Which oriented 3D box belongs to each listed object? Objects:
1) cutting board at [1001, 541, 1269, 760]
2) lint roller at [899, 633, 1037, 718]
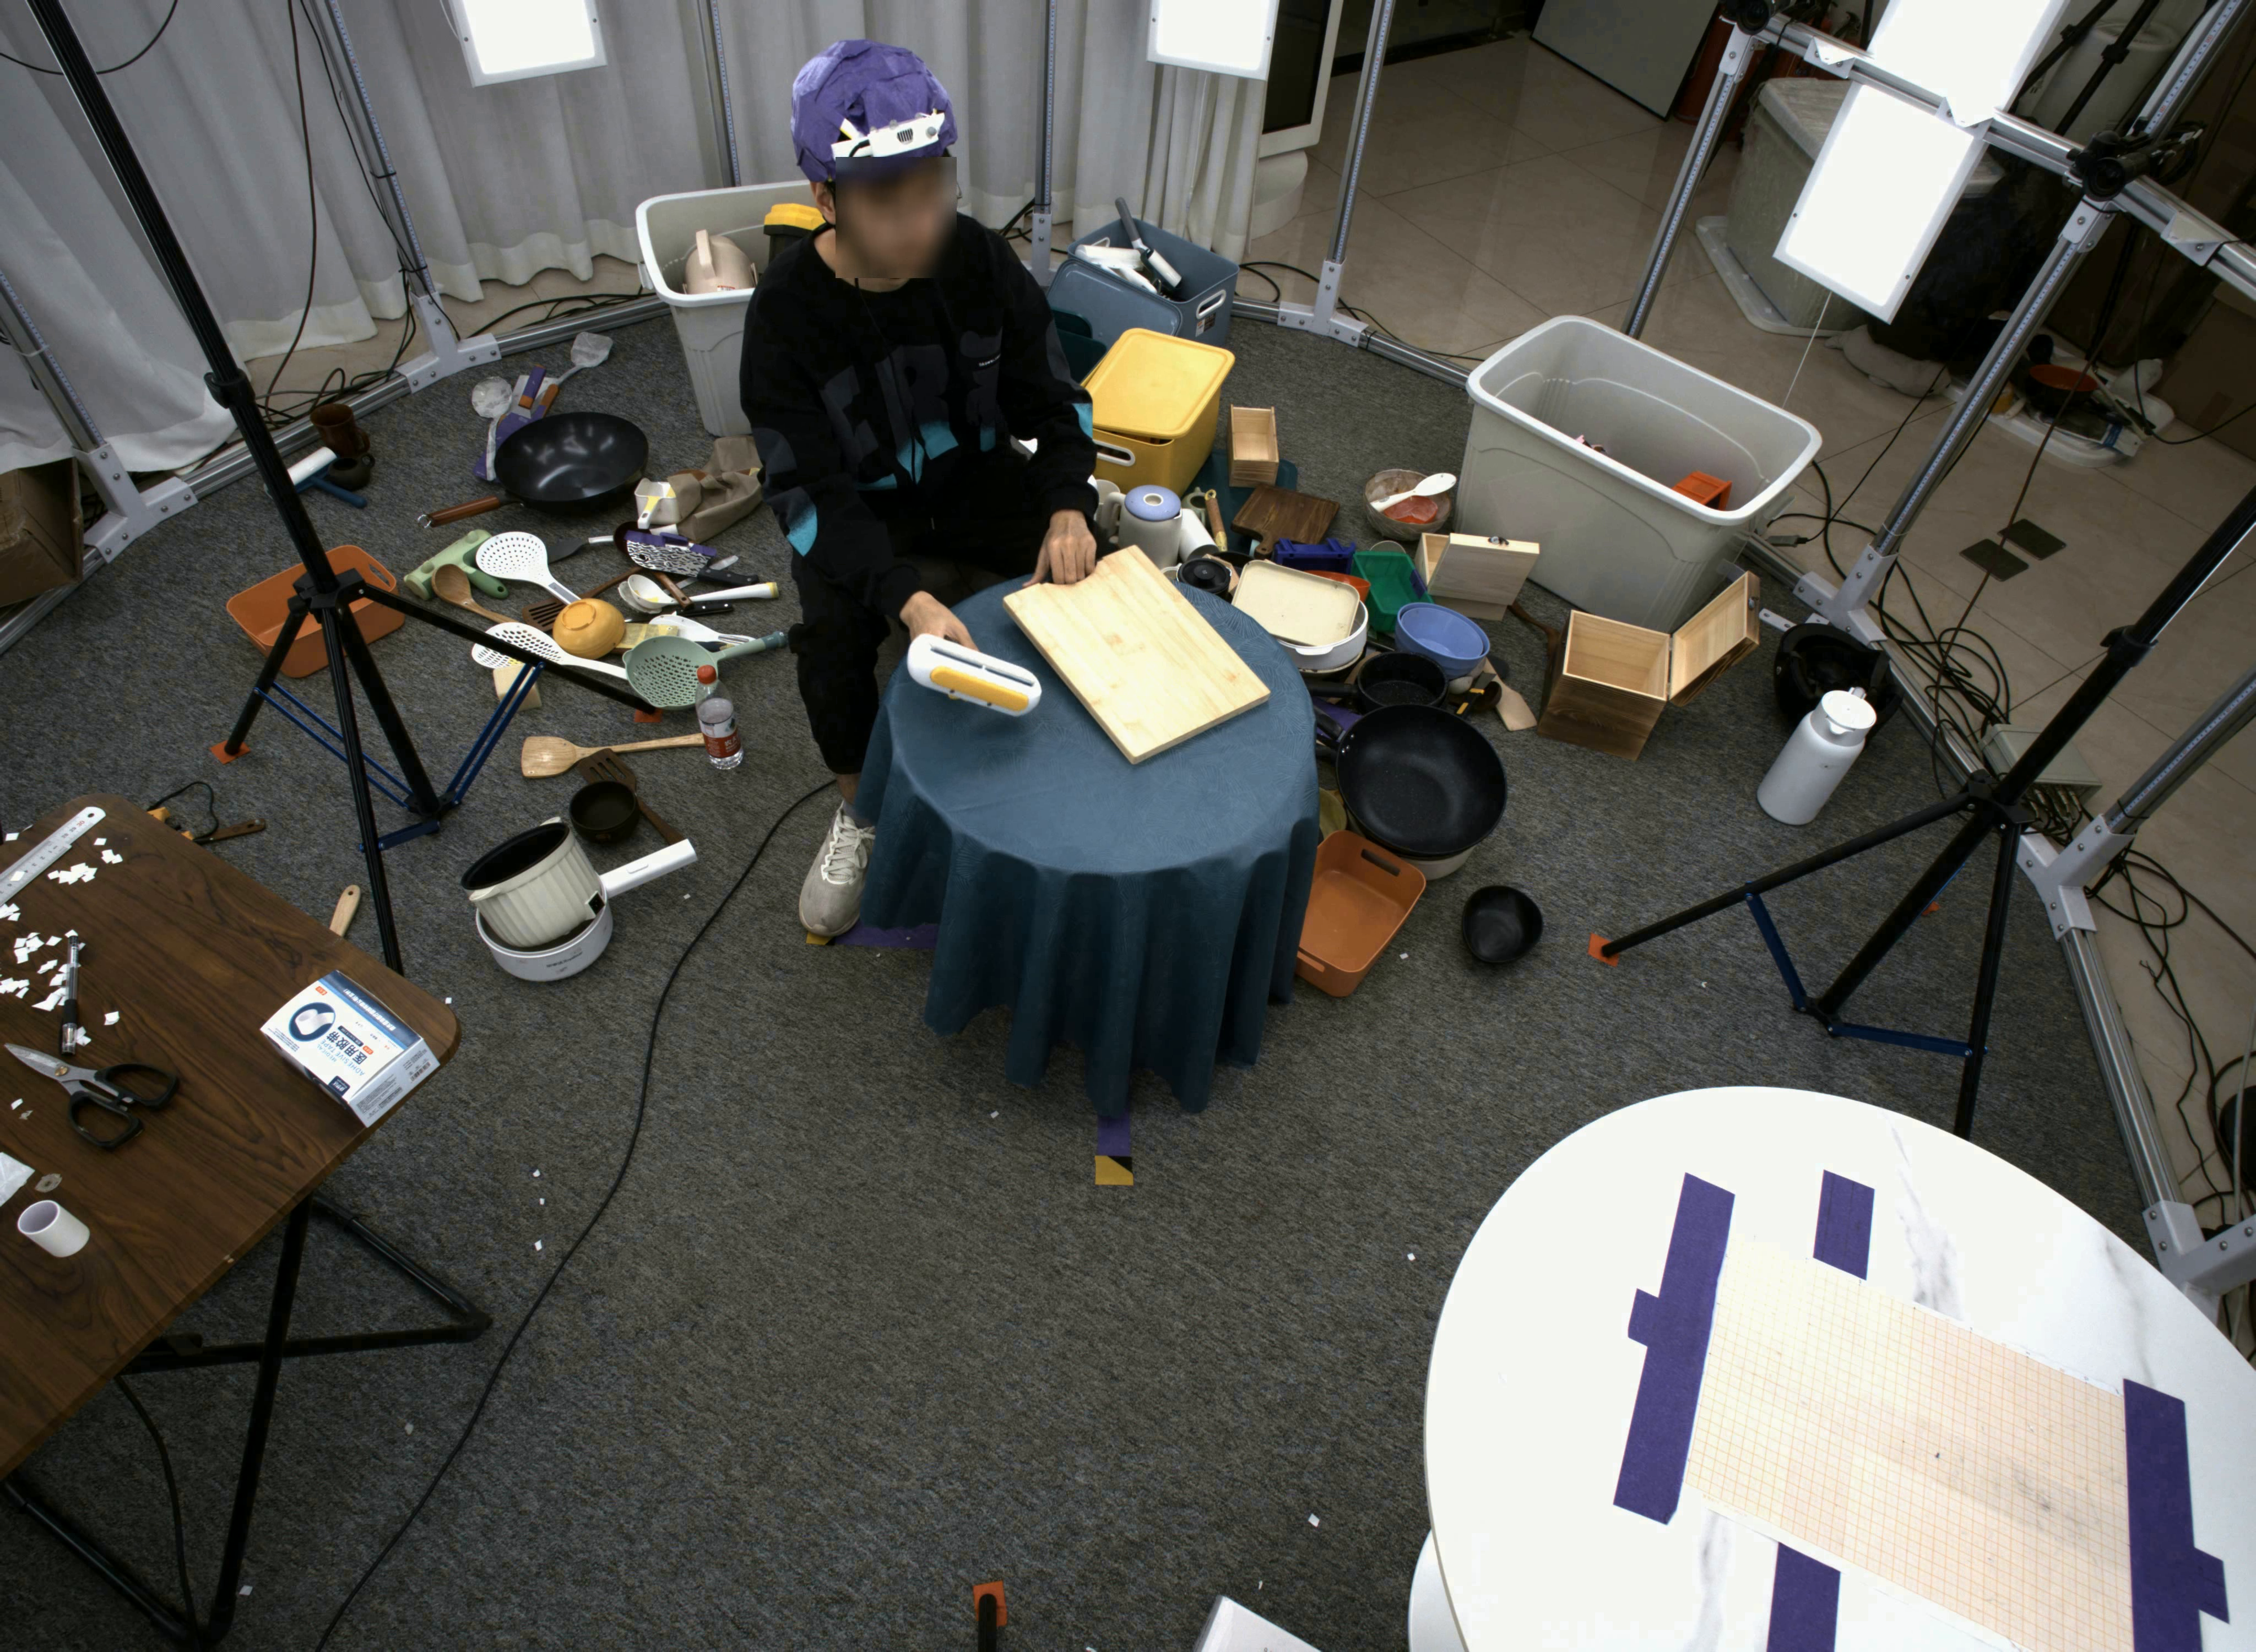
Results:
[{"bbox_3d":[0.007,-0.262,1.864,0.252,0.023,0.355,-27,61,-24],"label":"cutting board"},{"bbox_3d":[-0.230,-0.226,1.756,0.191,0.073,0.197,14,29,-27],"label":"lint roller"}]
